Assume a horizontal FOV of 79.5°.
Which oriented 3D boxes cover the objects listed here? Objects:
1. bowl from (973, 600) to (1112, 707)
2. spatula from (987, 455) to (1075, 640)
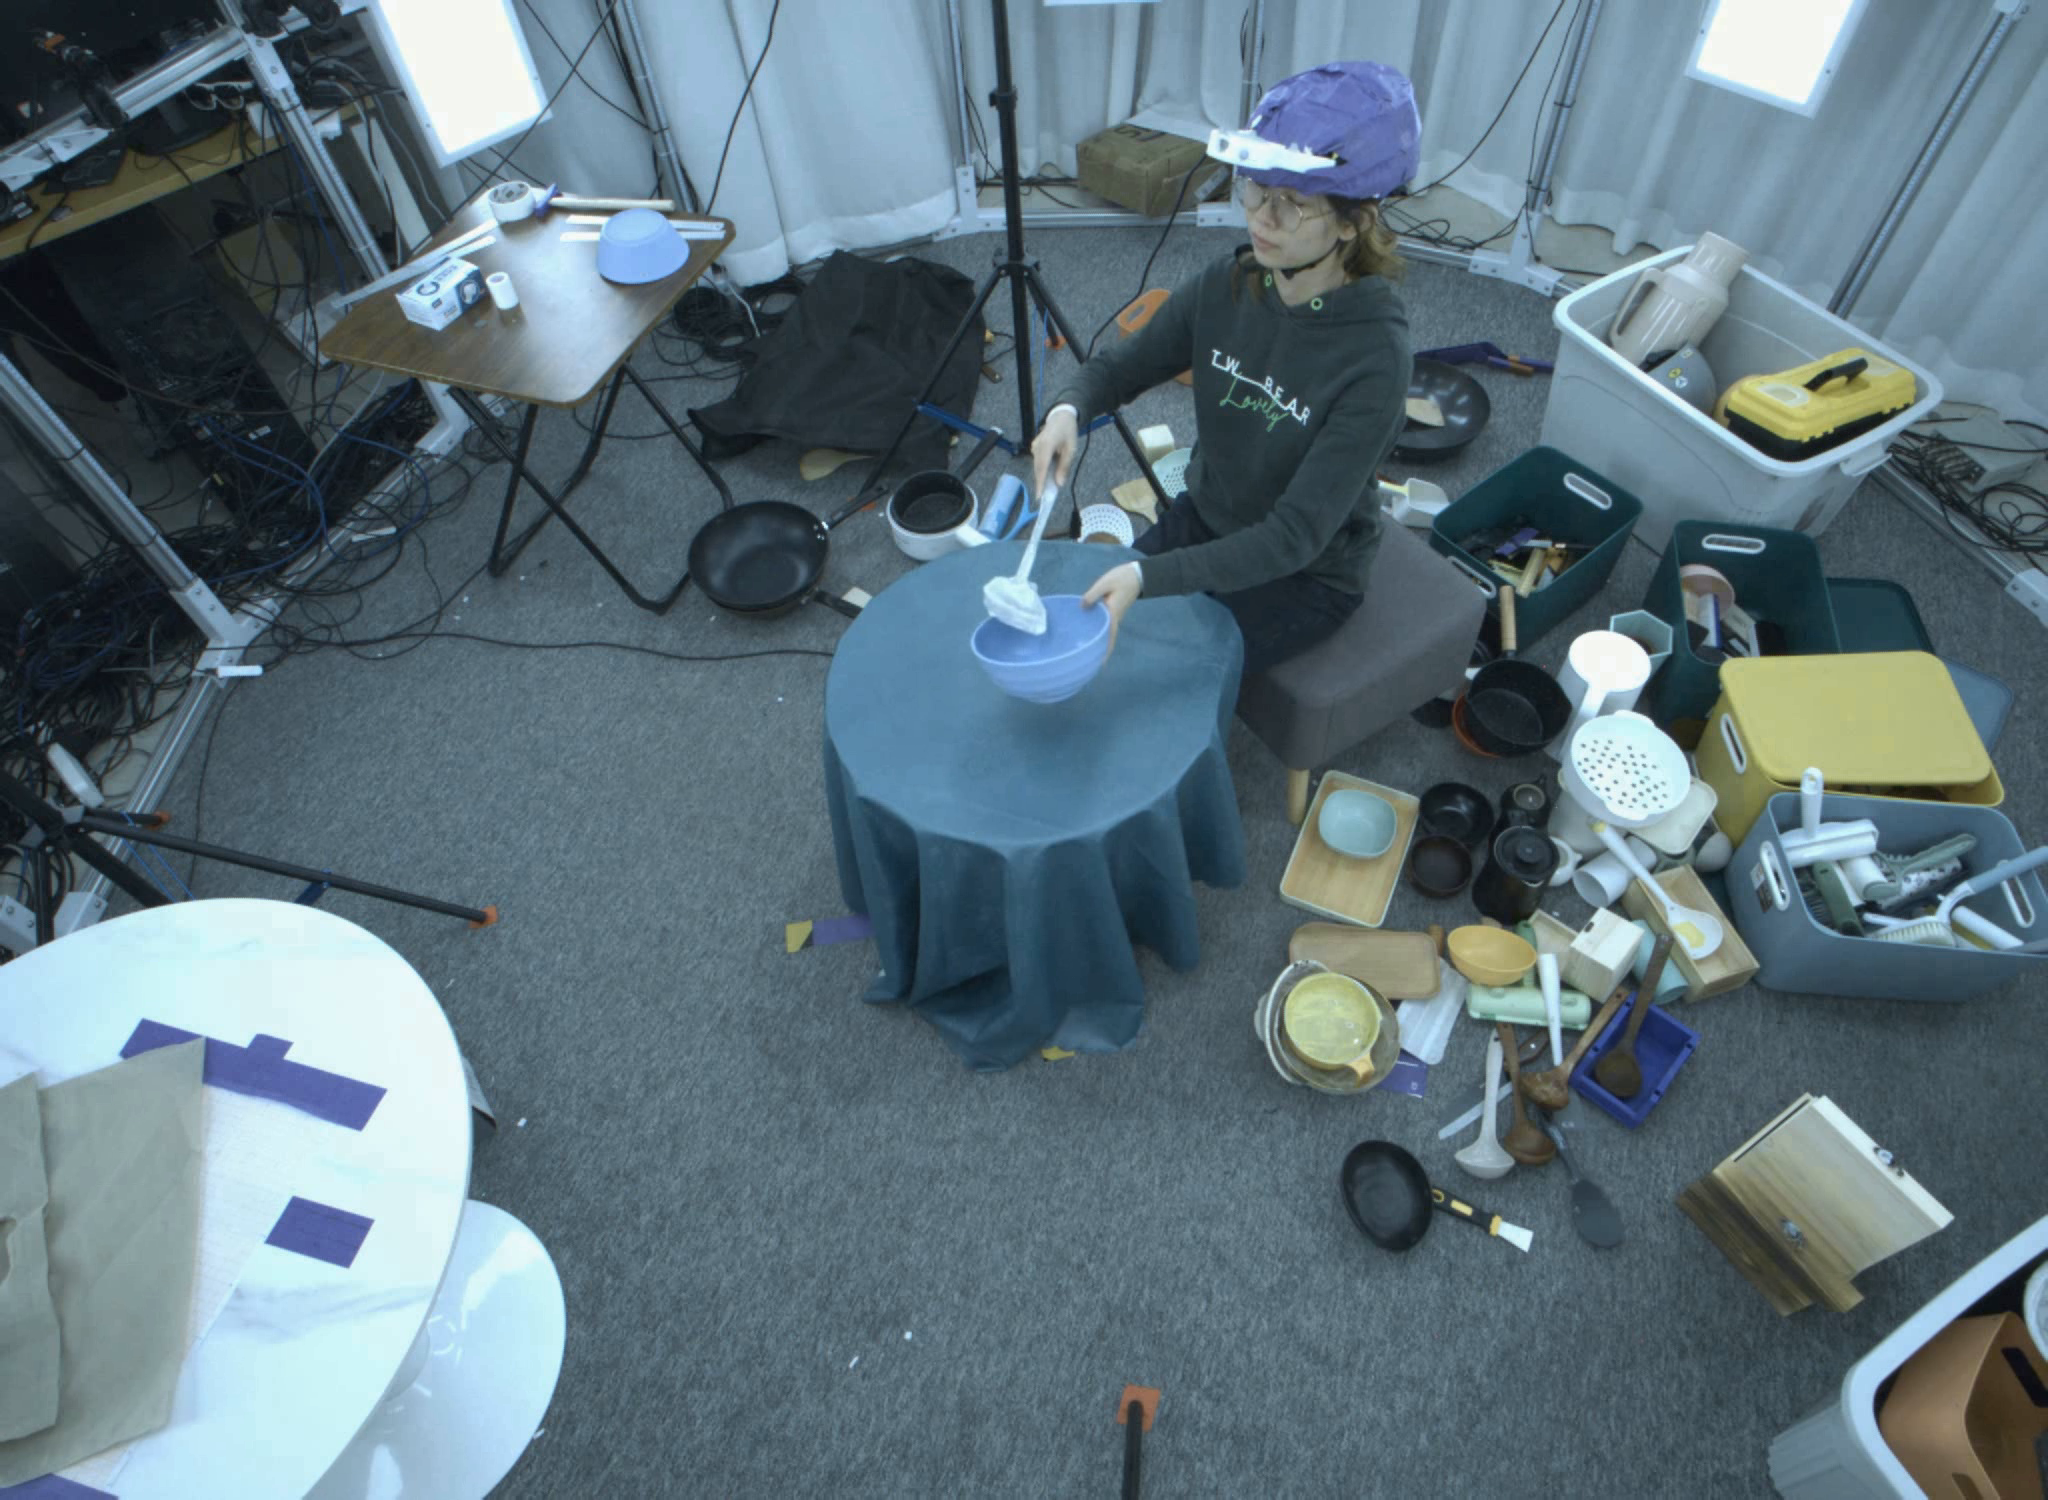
[{"bbox_3d":[0.034,-0.124,1.724,0.195,0.097,0.194,-9,32,7],"label":"bowl"},{"bbox_3d":[0.027,-0.311,1.776,0.100,0.044,0.363,24,63,-15],"label":"spatula"}]
